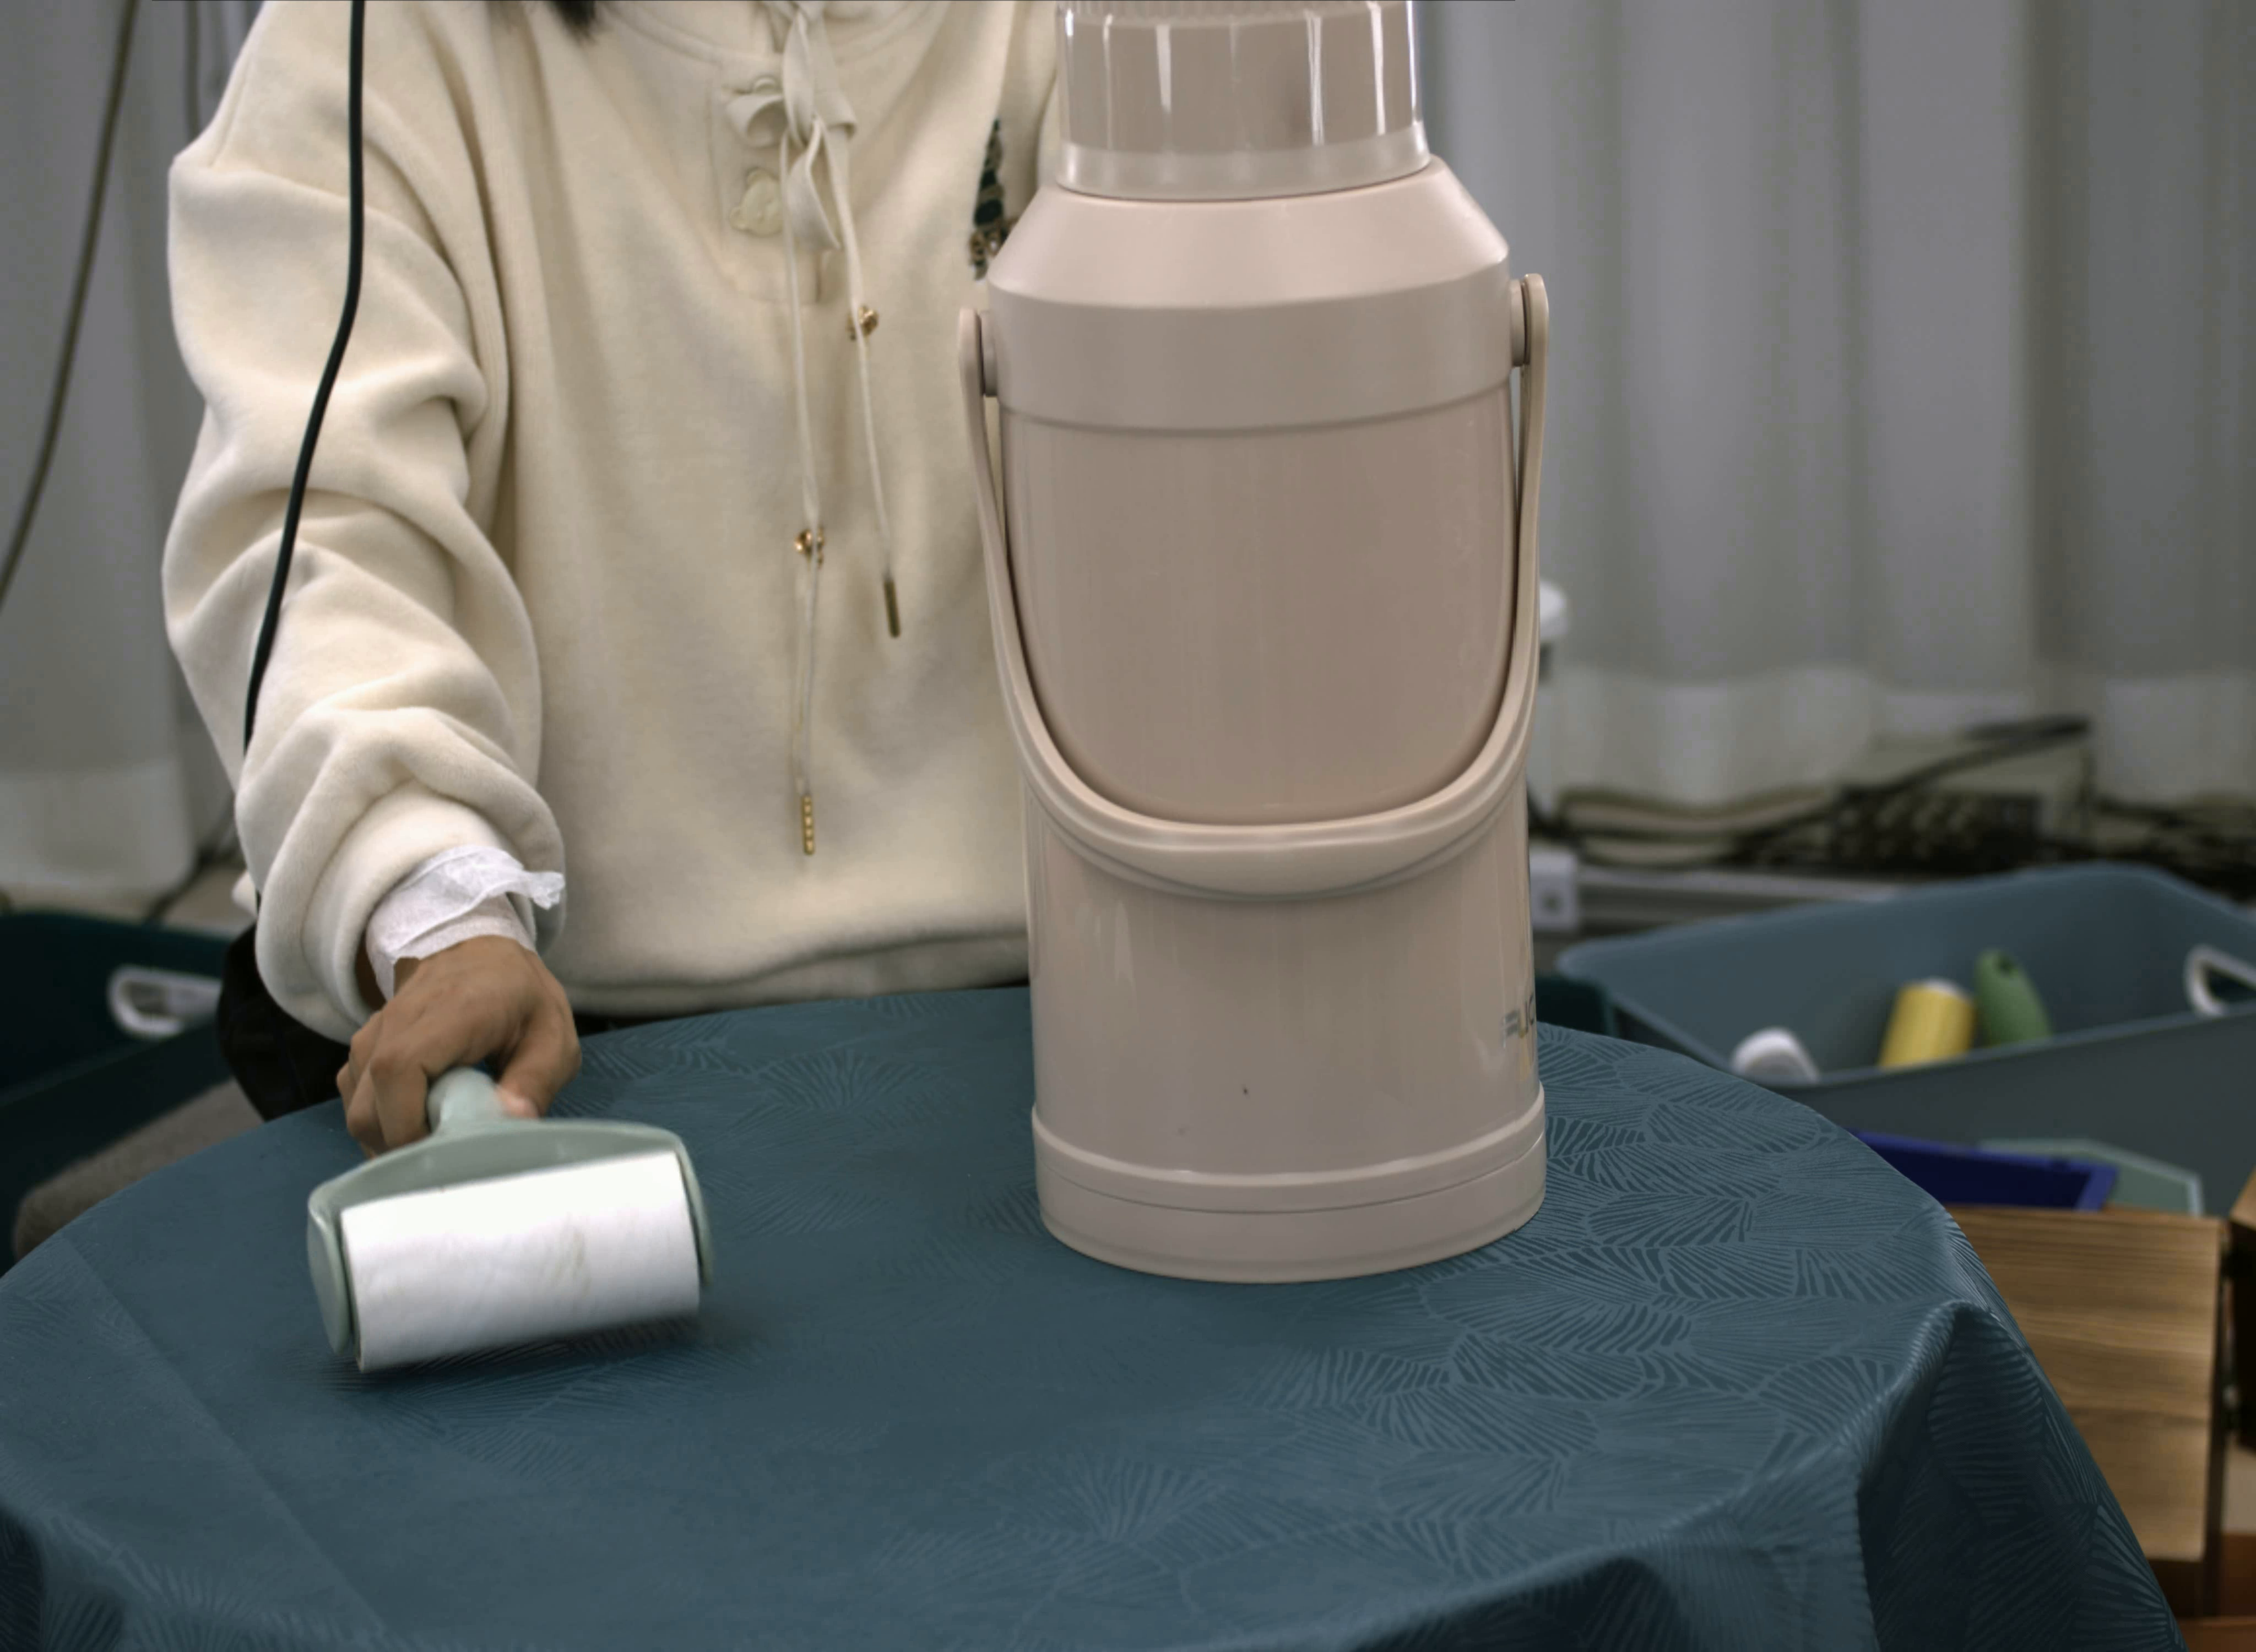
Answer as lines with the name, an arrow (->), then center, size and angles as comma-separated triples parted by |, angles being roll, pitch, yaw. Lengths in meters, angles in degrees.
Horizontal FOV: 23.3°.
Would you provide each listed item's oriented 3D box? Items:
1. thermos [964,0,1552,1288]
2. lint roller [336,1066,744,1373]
thermos -> 0.042, -0.078, 1.666 | 0.175, 0.405, 0.208 | -3, 13, 0
lint roller -> -0.189, 0.104, 1.664 | 0.116, 0.048, 0.199 | -10, 22, -12
